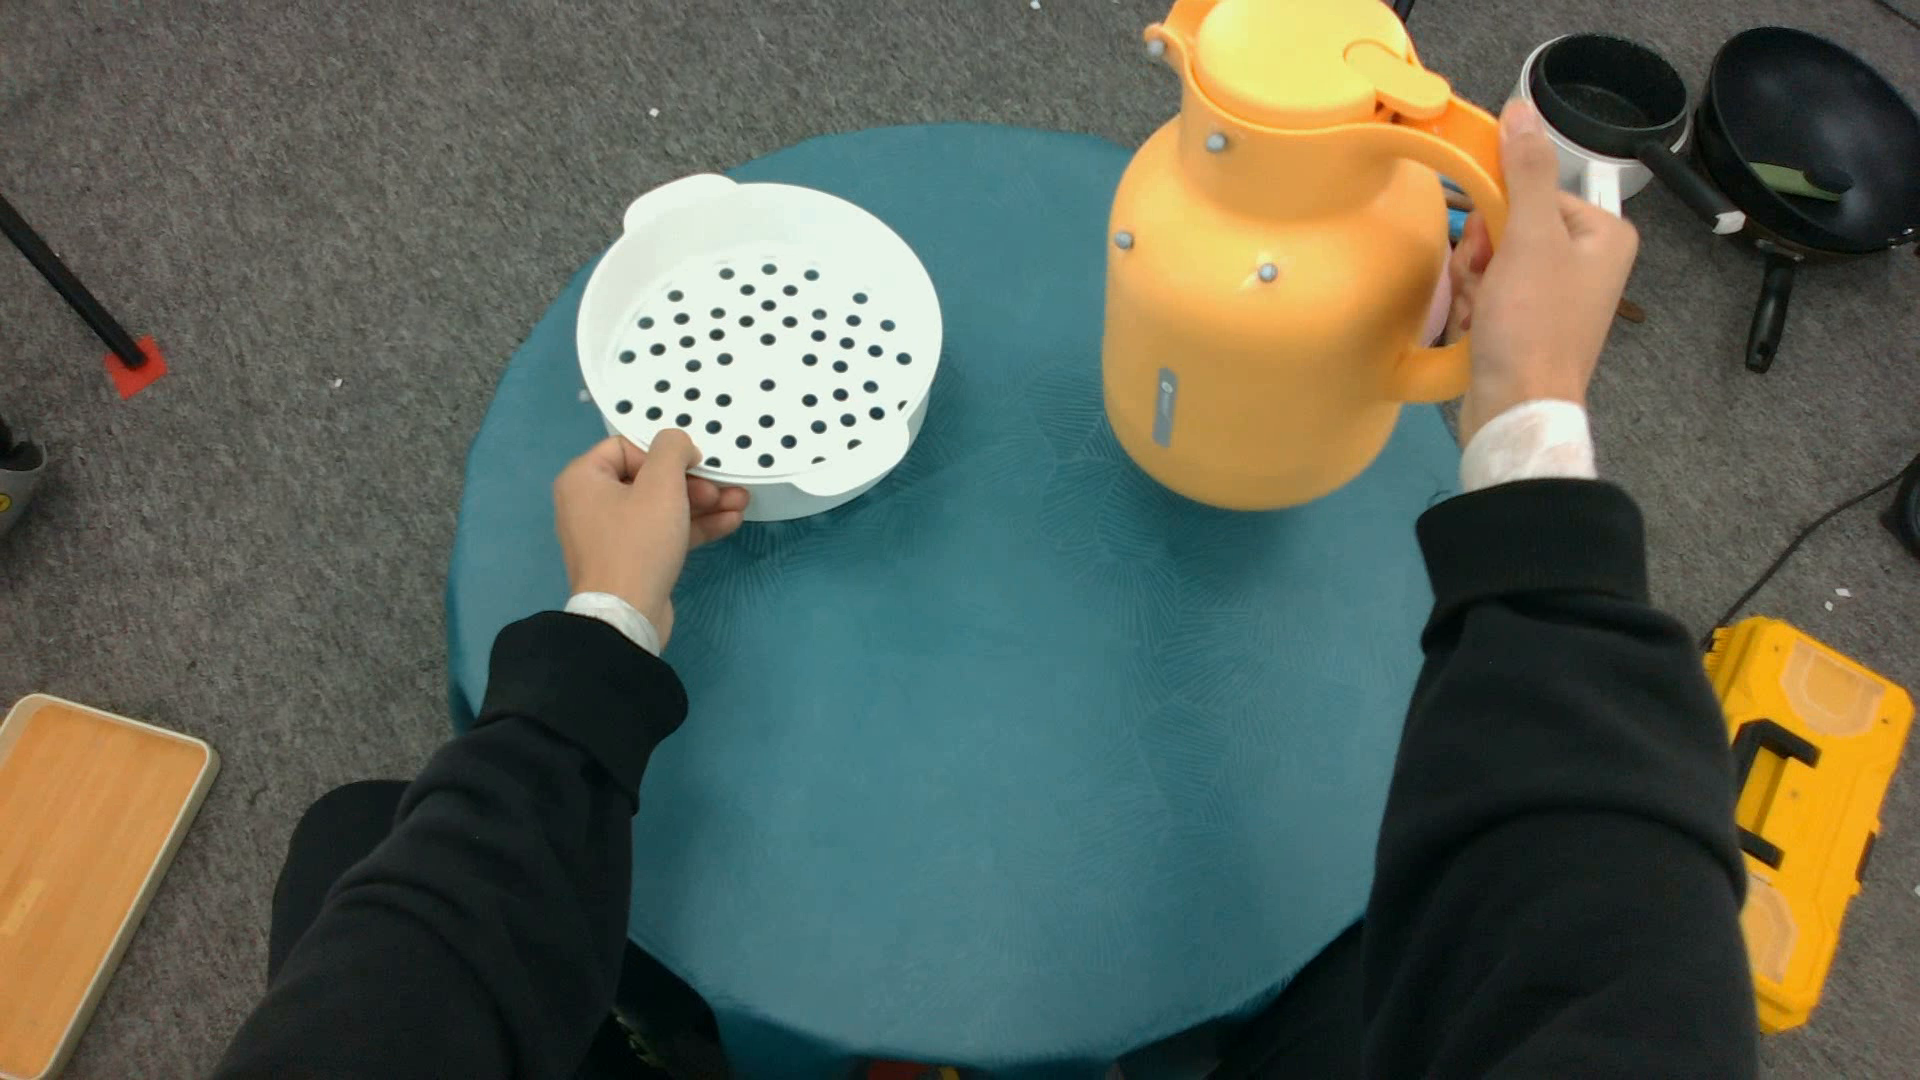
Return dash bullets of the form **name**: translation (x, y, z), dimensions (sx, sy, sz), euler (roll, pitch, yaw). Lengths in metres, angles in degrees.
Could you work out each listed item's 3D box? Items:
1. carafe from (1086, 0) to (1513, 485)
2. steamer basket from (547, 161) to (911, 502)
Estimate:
- **carafe**: translation (0.158, -0.142, 0.680), dimensions (0.202, 0.259, 0.164), euler (36, 69, 24)
- **steamer basket**: translation (-0.131, -0.117, 0.798), dimensions (0.202, 0.069, 0.231), euler (-29, 70, -20)
